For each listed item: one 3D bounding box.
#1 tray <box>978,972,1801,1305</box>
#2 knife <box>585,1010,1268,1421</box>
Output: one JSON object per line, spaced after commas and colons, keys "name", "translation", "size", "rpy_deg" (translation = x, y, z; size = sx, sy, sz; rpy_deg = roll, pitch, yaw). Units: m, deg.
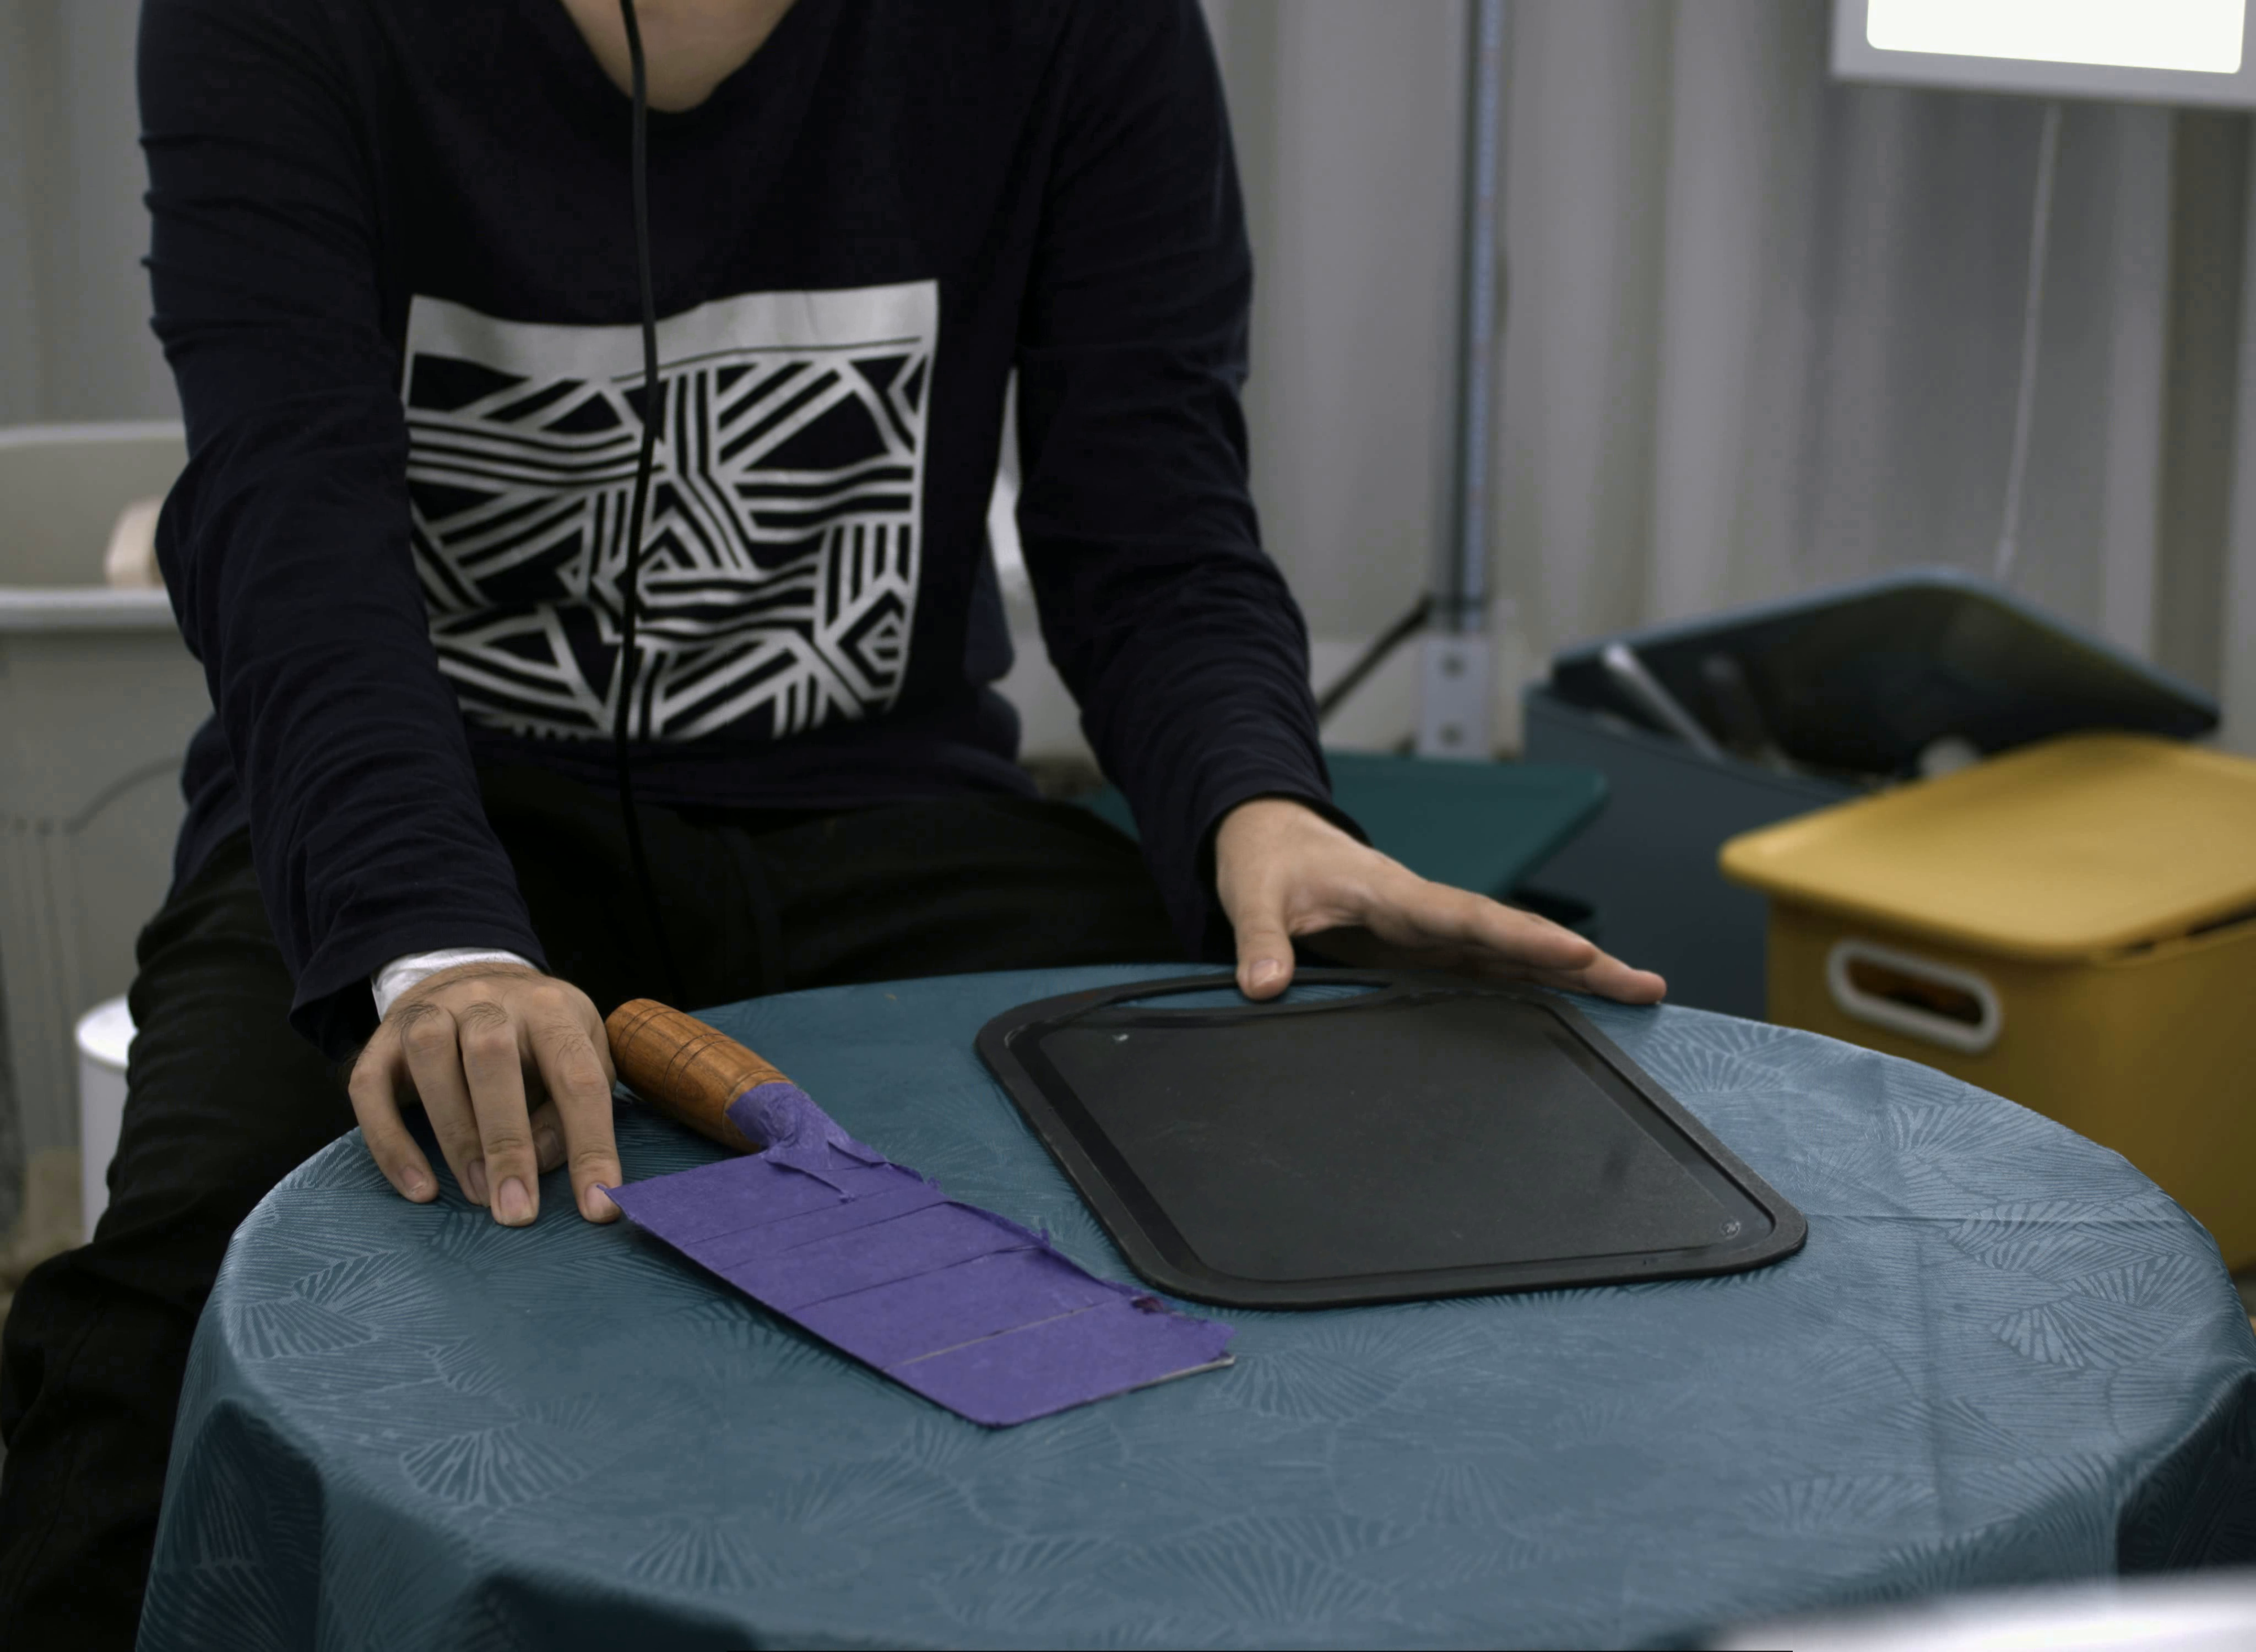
{"name": "tray", "translation": [0.073, 0.093, 1.688], "size": [0.211, 0.010, 0.322], "rpy_deg": [-3, 16, -13]}
{"name": "knife", "translation": [-0.093, 0.113, 1.570], "size": [0.104, 0.032, 0.311], "rpy_deg": [-11, 20, -37]}
